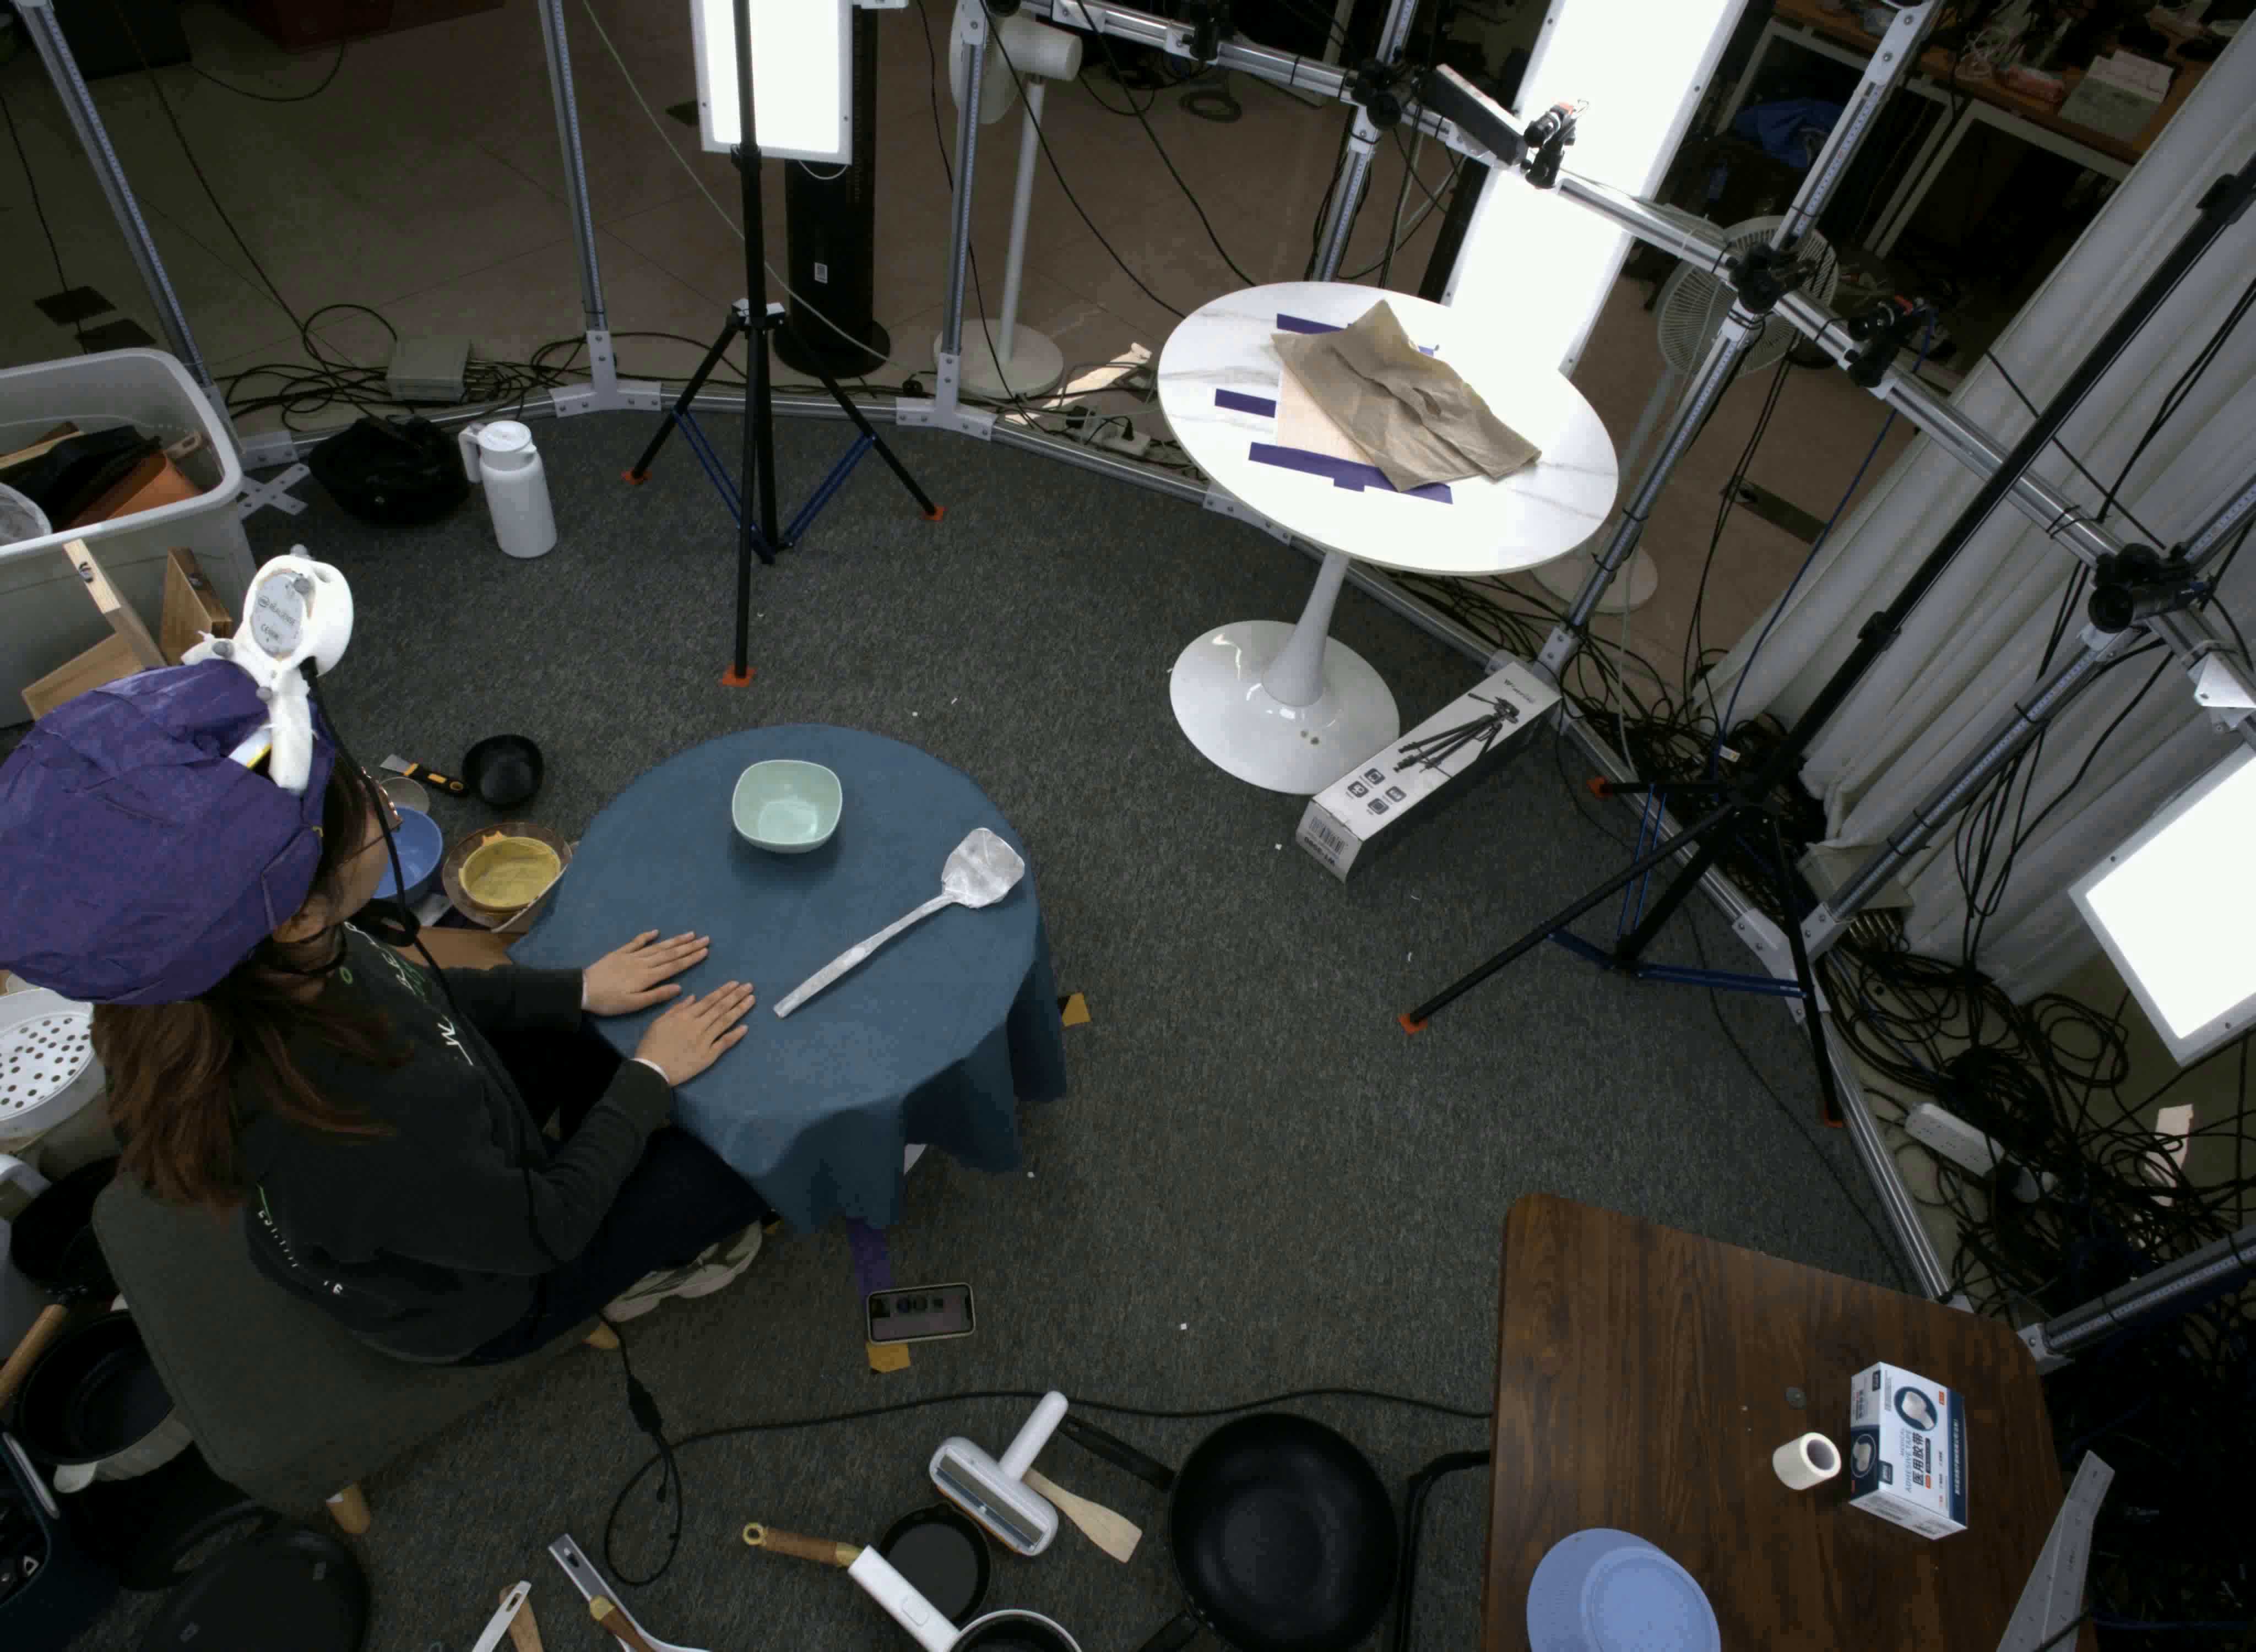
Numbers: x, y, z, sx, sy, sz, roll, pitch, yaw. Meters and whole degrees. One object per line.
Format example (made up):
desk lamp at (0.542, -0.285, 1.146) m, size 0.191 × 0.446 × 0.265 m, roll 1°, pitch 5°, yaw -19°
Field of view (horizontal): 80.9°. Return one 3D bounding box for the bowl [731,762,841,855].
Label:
bowl at (-0.447, -0.014, 1.698) m, size 0.151 × 0.060 × 0.148 m, roll 9°, pitch 50°, yaw -9°

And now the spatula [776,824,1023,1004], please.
spatula at (-0.290, 0.118, 1.651) m, size 0.366 × 0.045 × 0.096 m, roll -34°, pitch 70°, yaw -33°
